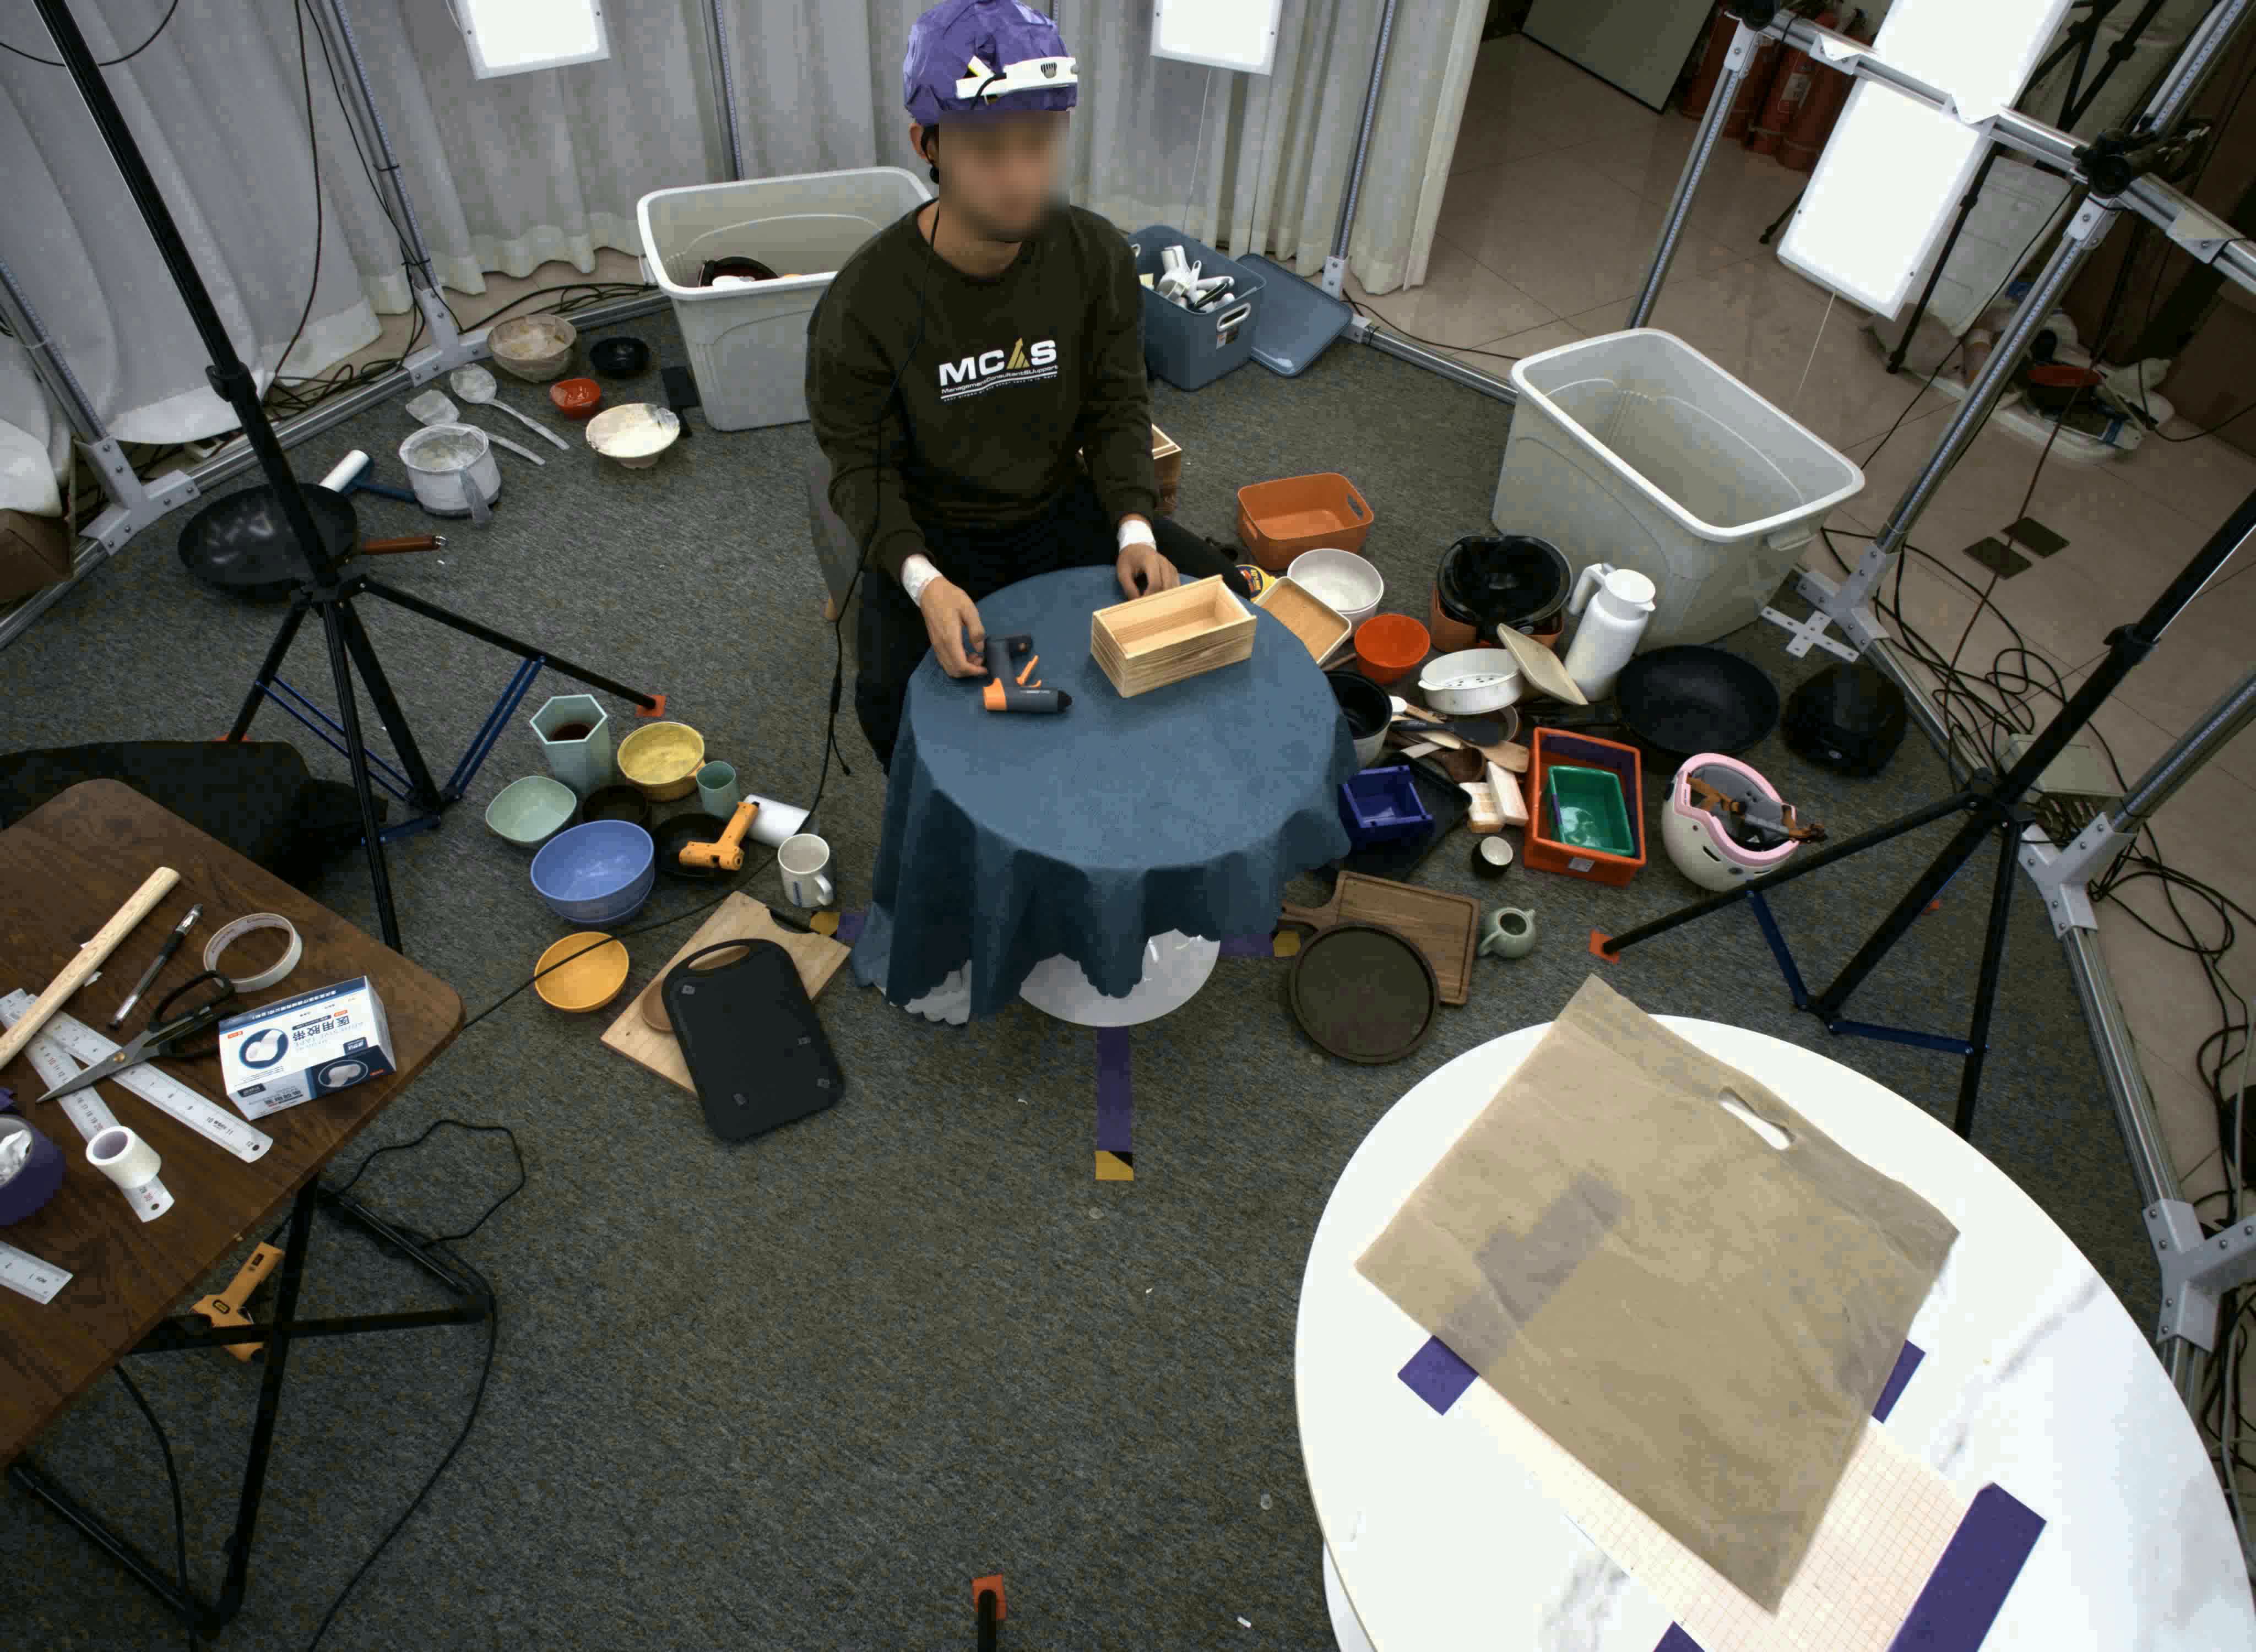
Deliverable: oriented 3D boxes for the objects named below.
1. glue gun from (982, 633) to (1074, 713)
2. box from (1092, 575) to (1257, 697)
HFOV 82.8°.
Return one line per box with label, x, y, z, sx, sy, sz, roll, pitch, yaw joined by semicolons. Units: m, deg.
glue gun;-0.149;-0.209;1.811;0.118;0.040;0.143;-10;52;-15
box;0.065;-0.276;1.853;0.212;0.078;0.110;-20;52;-20
